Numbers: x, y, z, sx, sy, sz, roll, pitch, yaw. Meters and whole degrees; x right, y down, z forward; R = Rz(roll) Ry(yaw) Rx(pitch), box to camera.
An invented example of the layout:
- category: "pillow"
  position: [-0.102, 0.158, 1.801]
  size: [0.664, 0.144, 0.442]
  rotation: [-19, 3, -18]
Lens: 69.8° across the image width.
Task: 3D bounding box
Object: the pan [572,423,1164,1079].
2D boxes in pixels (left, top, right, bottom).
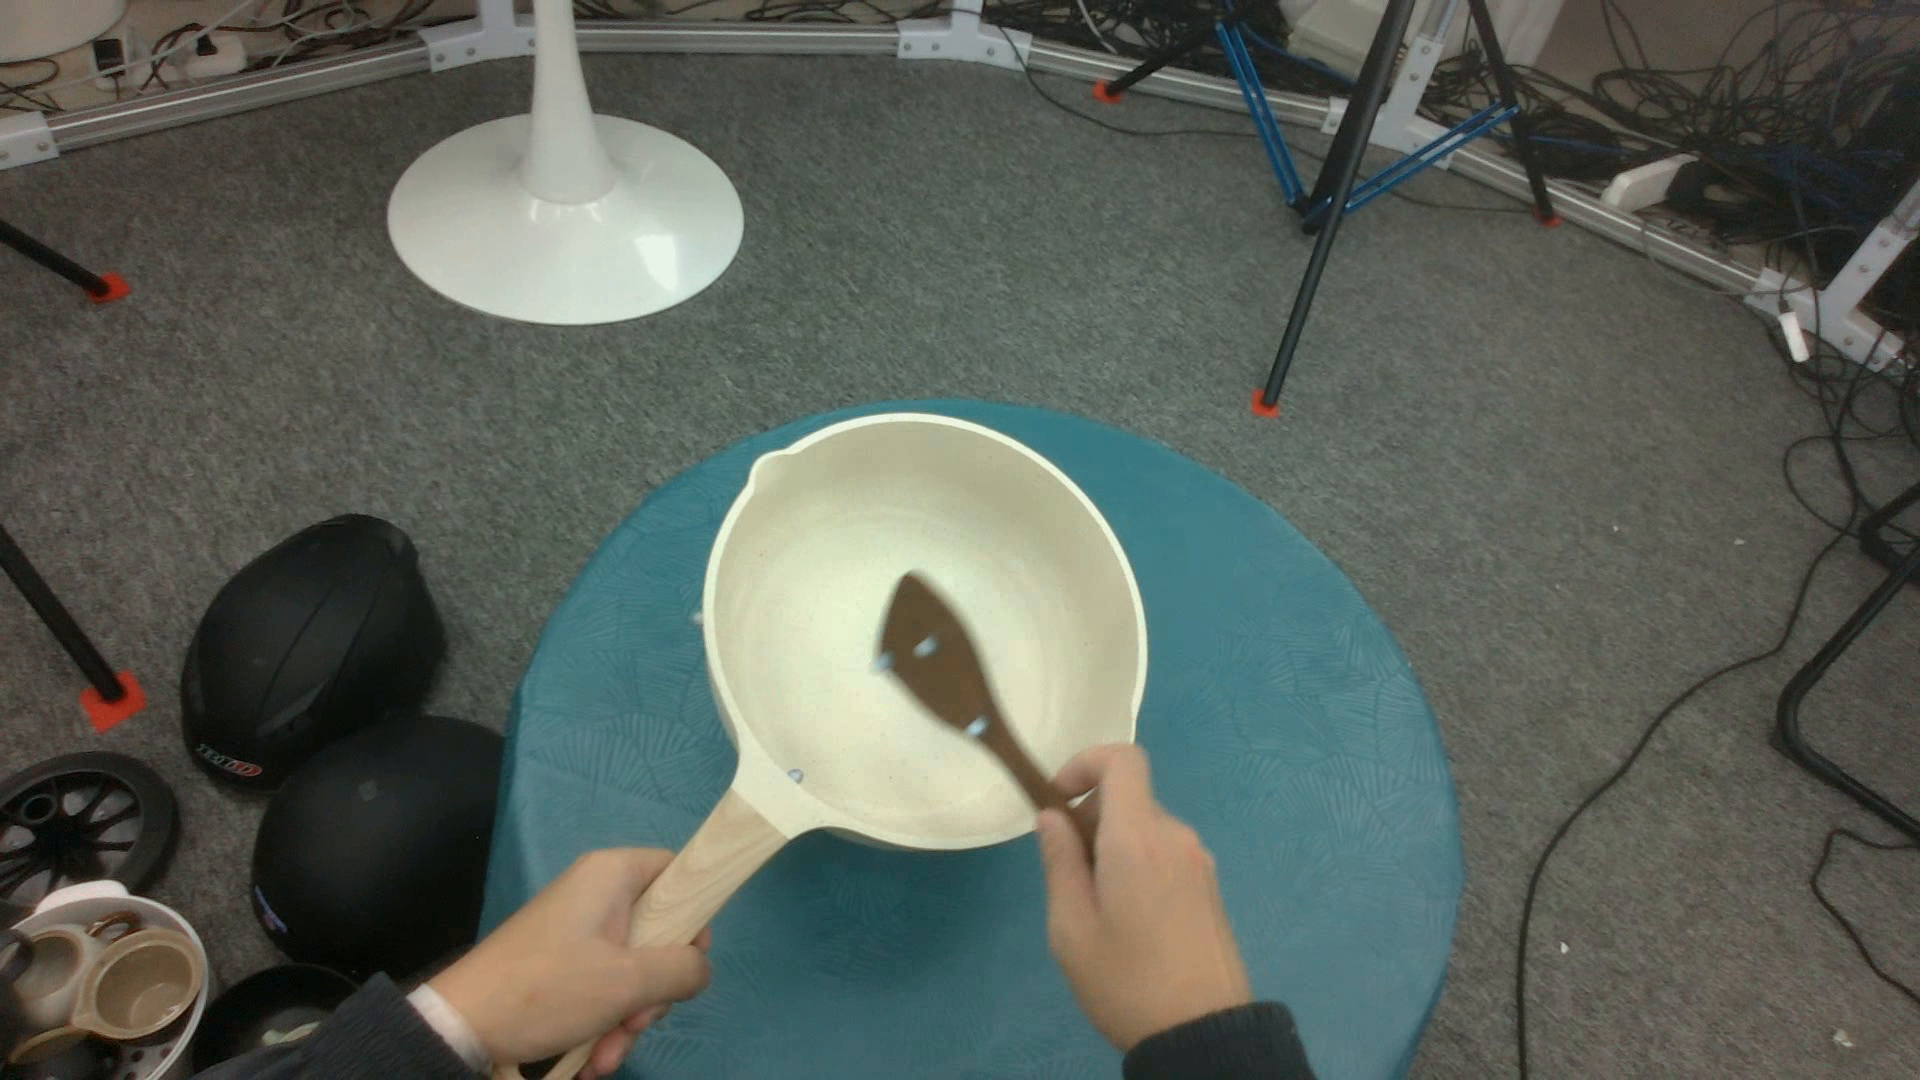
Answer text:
- category: "pan"
  position: [-0.062, 0.123, 0.741]
  size: [0.263, 0.101, 0.437]
  rotation: [38, 61, 1]

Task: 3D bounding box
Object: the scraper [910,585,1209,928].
- category: "scraper"
  position: [0.046, 0.109, 0.686]
  size: [0.011, 0.075, 0.211]
  rotation: [-25, 57, -34]
